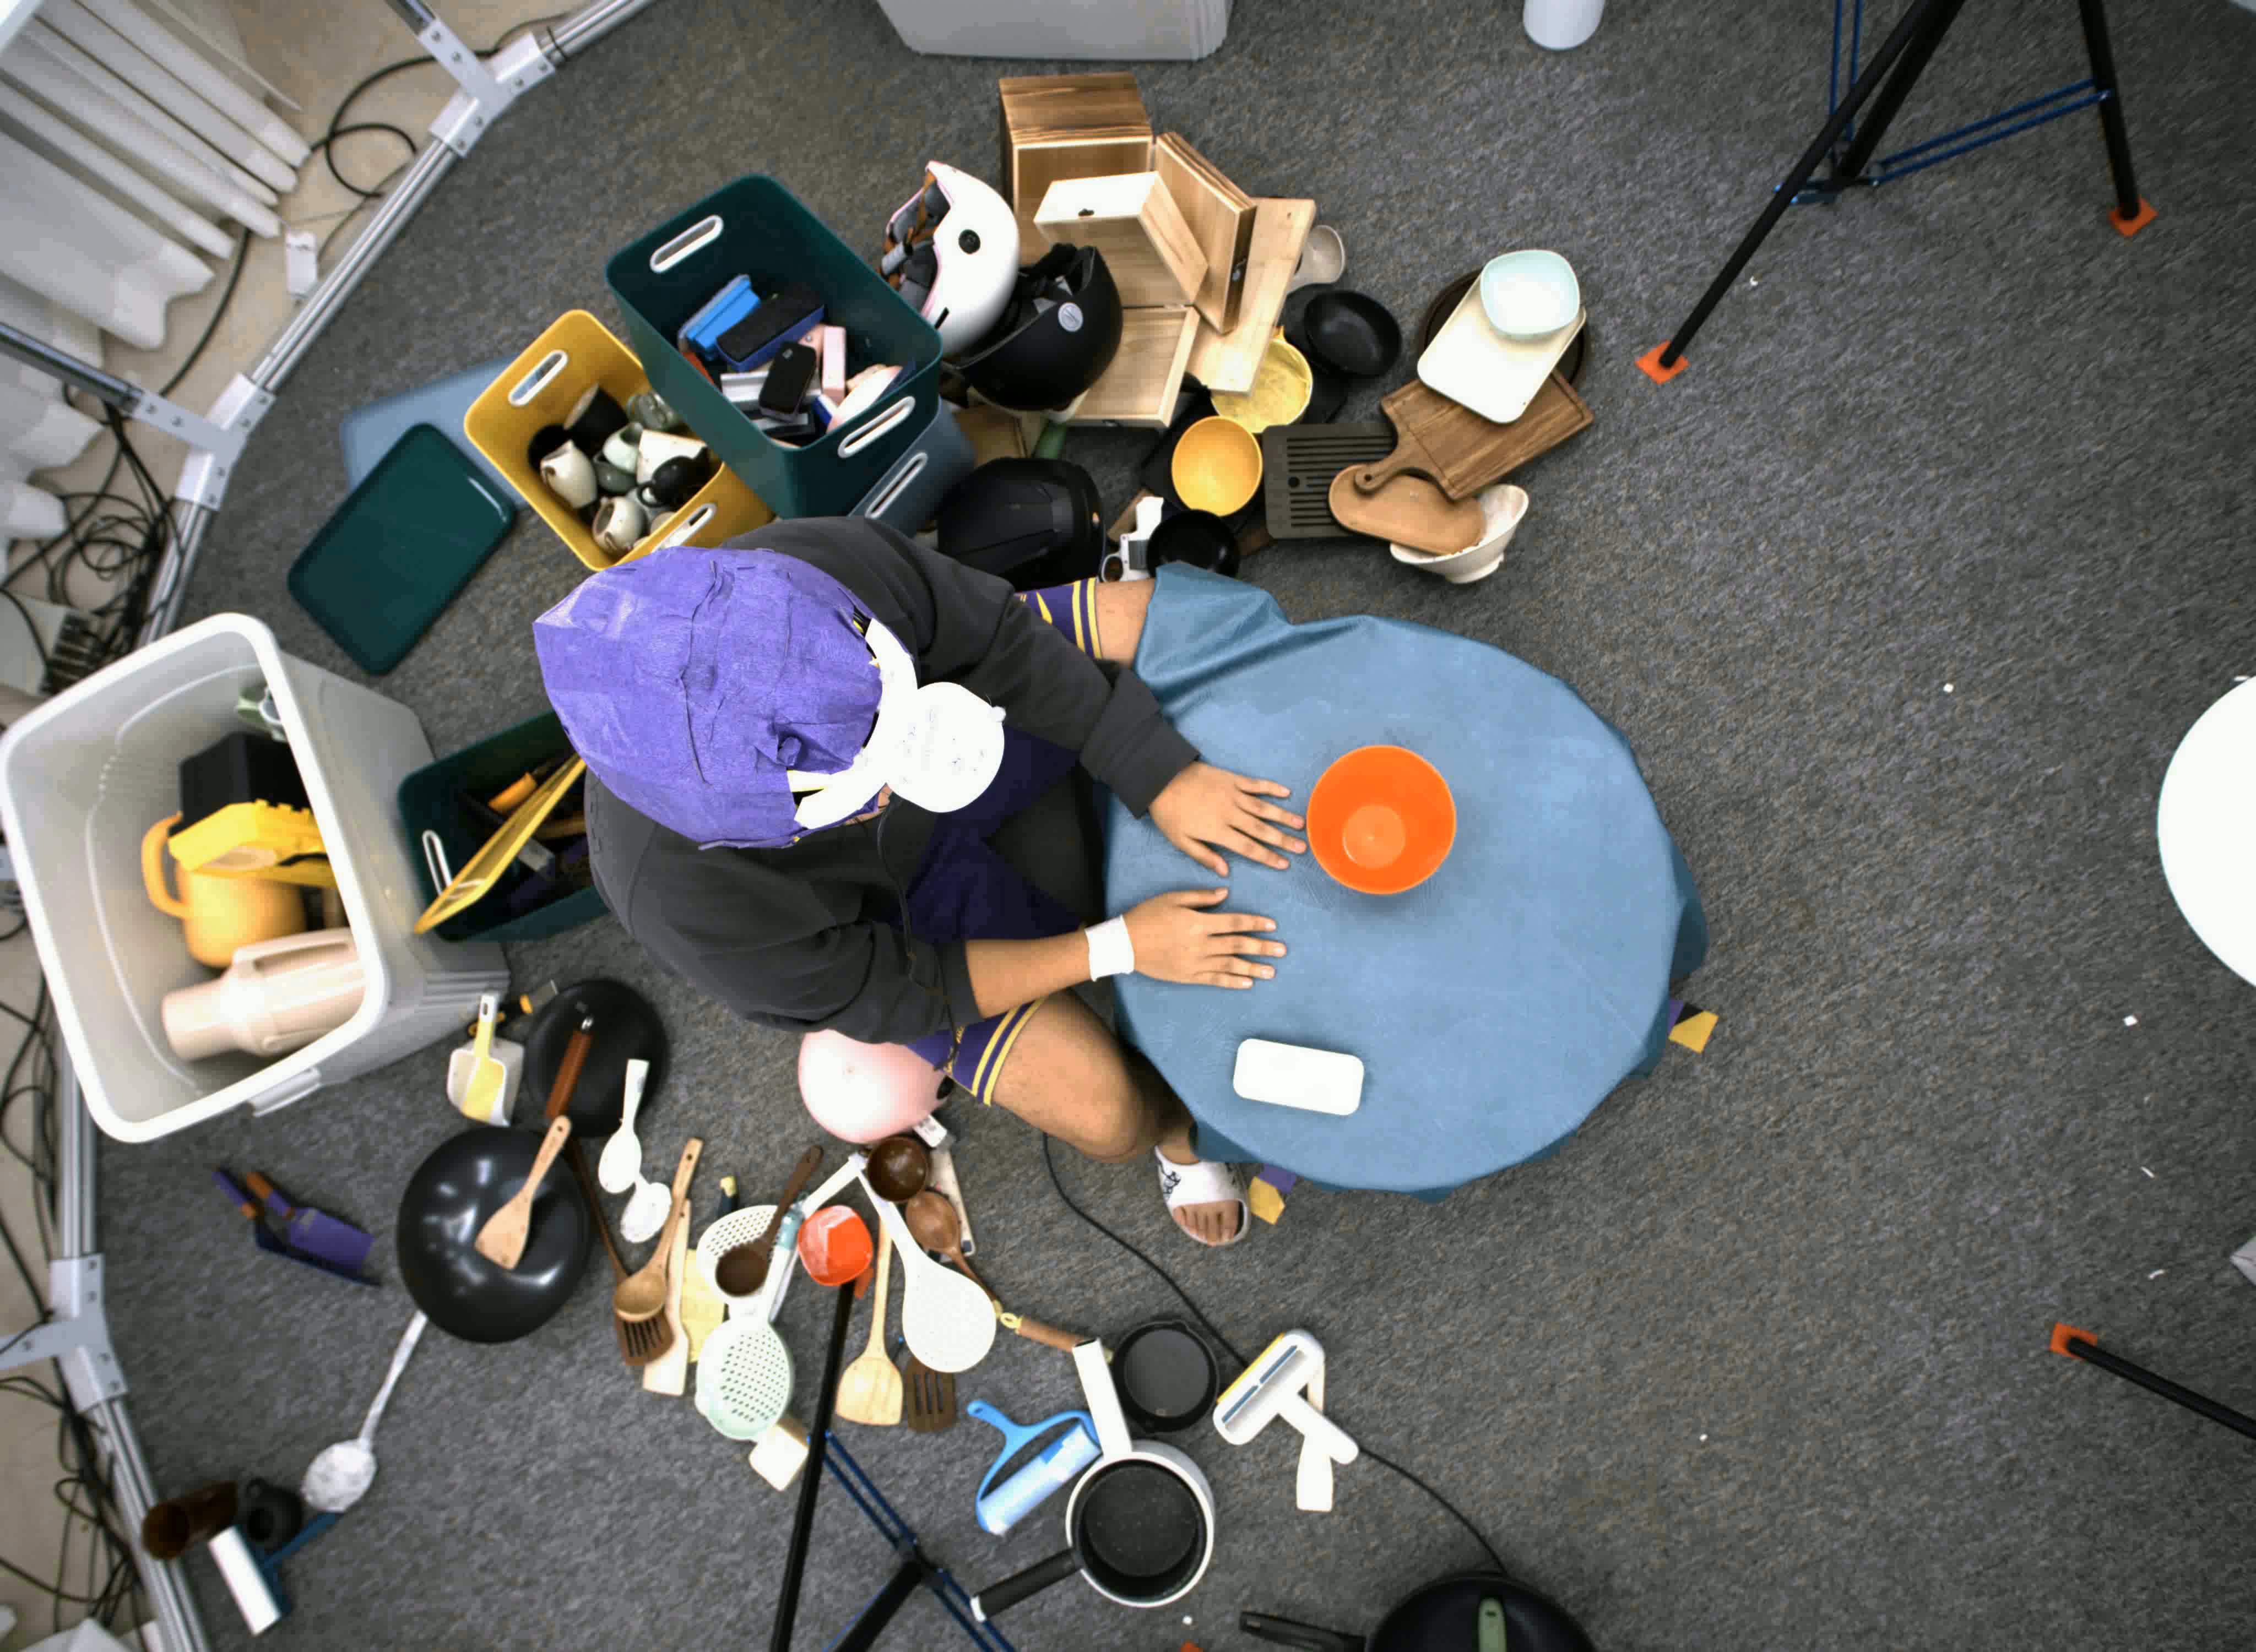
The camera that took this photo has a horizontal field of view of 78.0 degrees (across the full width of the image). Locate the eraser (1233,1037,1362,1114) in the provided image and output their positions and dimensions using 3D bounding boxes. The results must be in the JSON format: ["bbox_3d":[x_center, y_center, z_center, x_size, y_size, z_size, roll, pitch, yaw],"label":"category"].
[{"bbox_3d":[0.177,0.258,1.450,0.131,0.034,0.063,10,87,9],"label":"eraser"}]

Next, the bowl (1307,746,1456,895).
[{"bbox_3d":[0.259,-0.003,1.415,0.148,0.104,0.147,-1,87,11],"label":"bowl"}]
